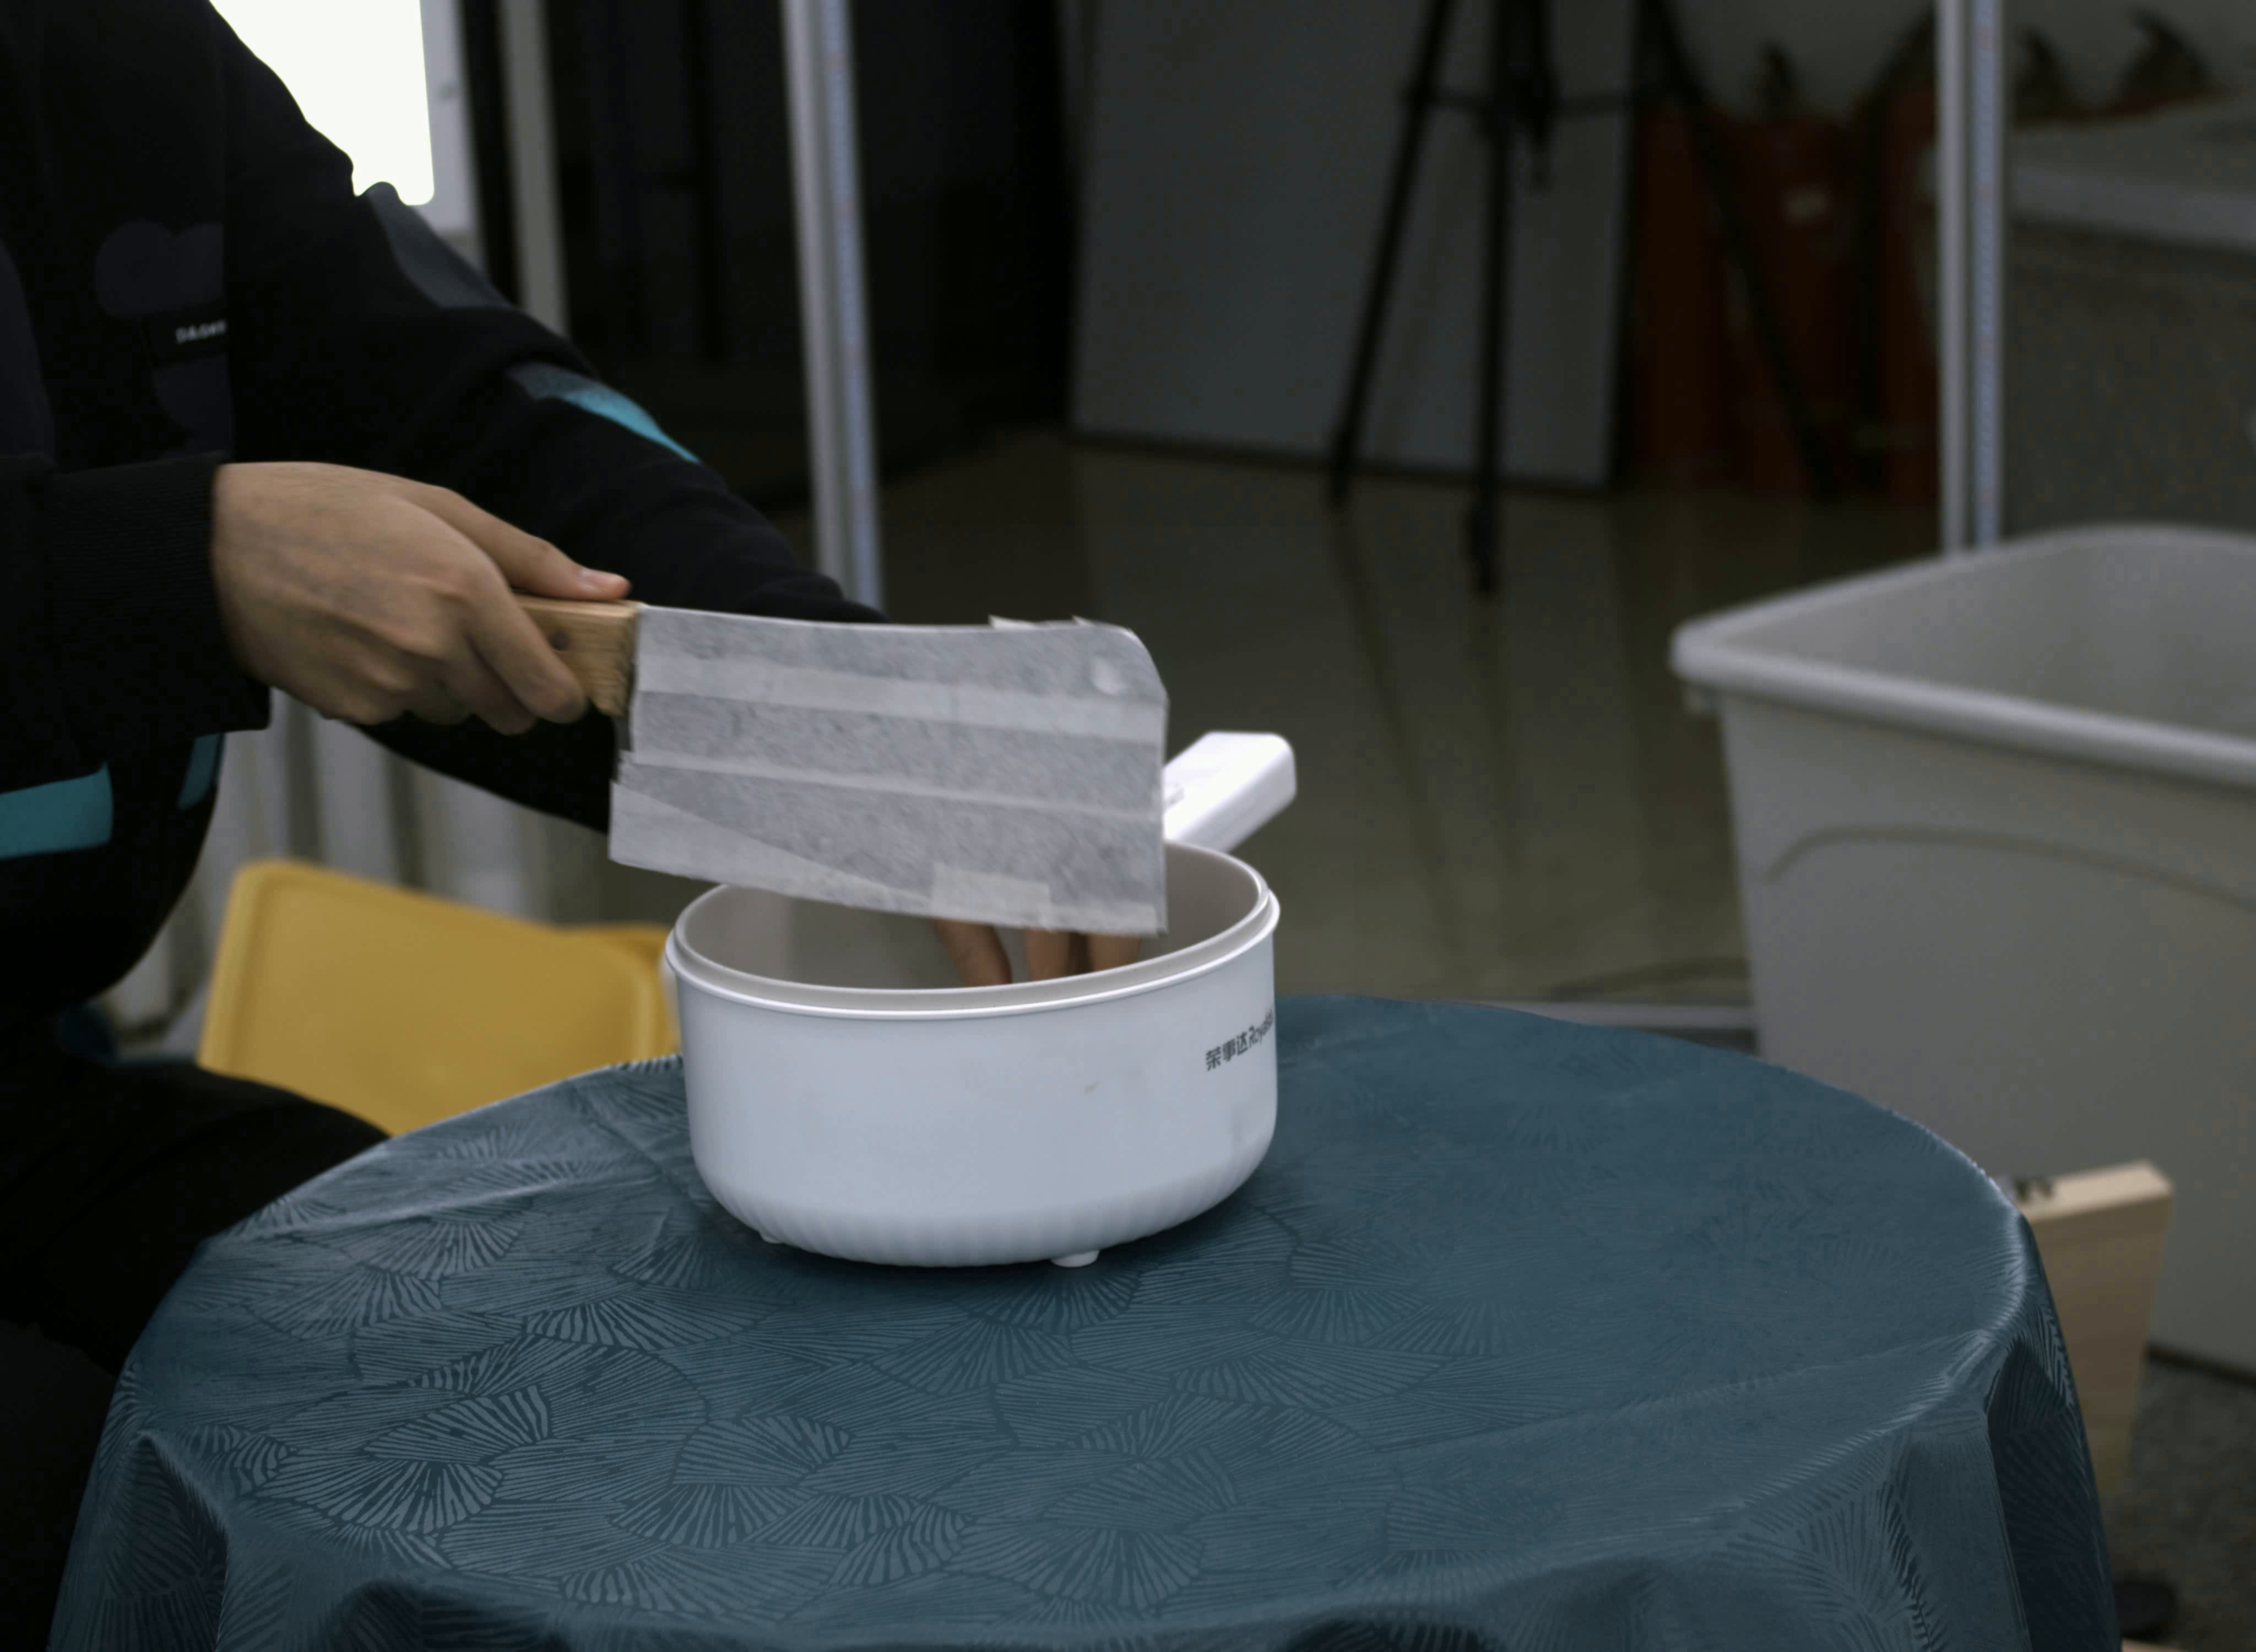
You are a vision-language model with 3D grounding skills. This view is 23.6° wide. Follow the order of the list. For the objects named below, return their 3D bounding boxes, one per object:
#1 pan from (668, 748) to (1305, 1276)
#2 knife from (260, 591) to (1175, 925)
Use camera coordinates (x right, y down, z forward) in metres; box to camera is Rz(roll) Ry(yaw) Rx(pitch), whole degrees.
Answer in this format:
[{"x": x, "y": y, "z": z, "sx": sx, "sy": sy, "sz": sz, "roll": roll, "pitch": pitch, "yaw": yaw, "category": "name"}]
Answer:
[{"x": -0.018, "y": 0.059, "z": 1.828, "sx": 0.201, "sy": 0.103, "sz": 0.351, "roll": 0, "pitch": 13, "yaw": 23, "category": "pan"}, {"x": -0.130, "y": -0.035, "z": 1.721, "sx": 0.314, "sy": 0.115, "sz": 0.021, "roll": 11, "pitch": 12, "yaw": 13, "category": "knife"}]
